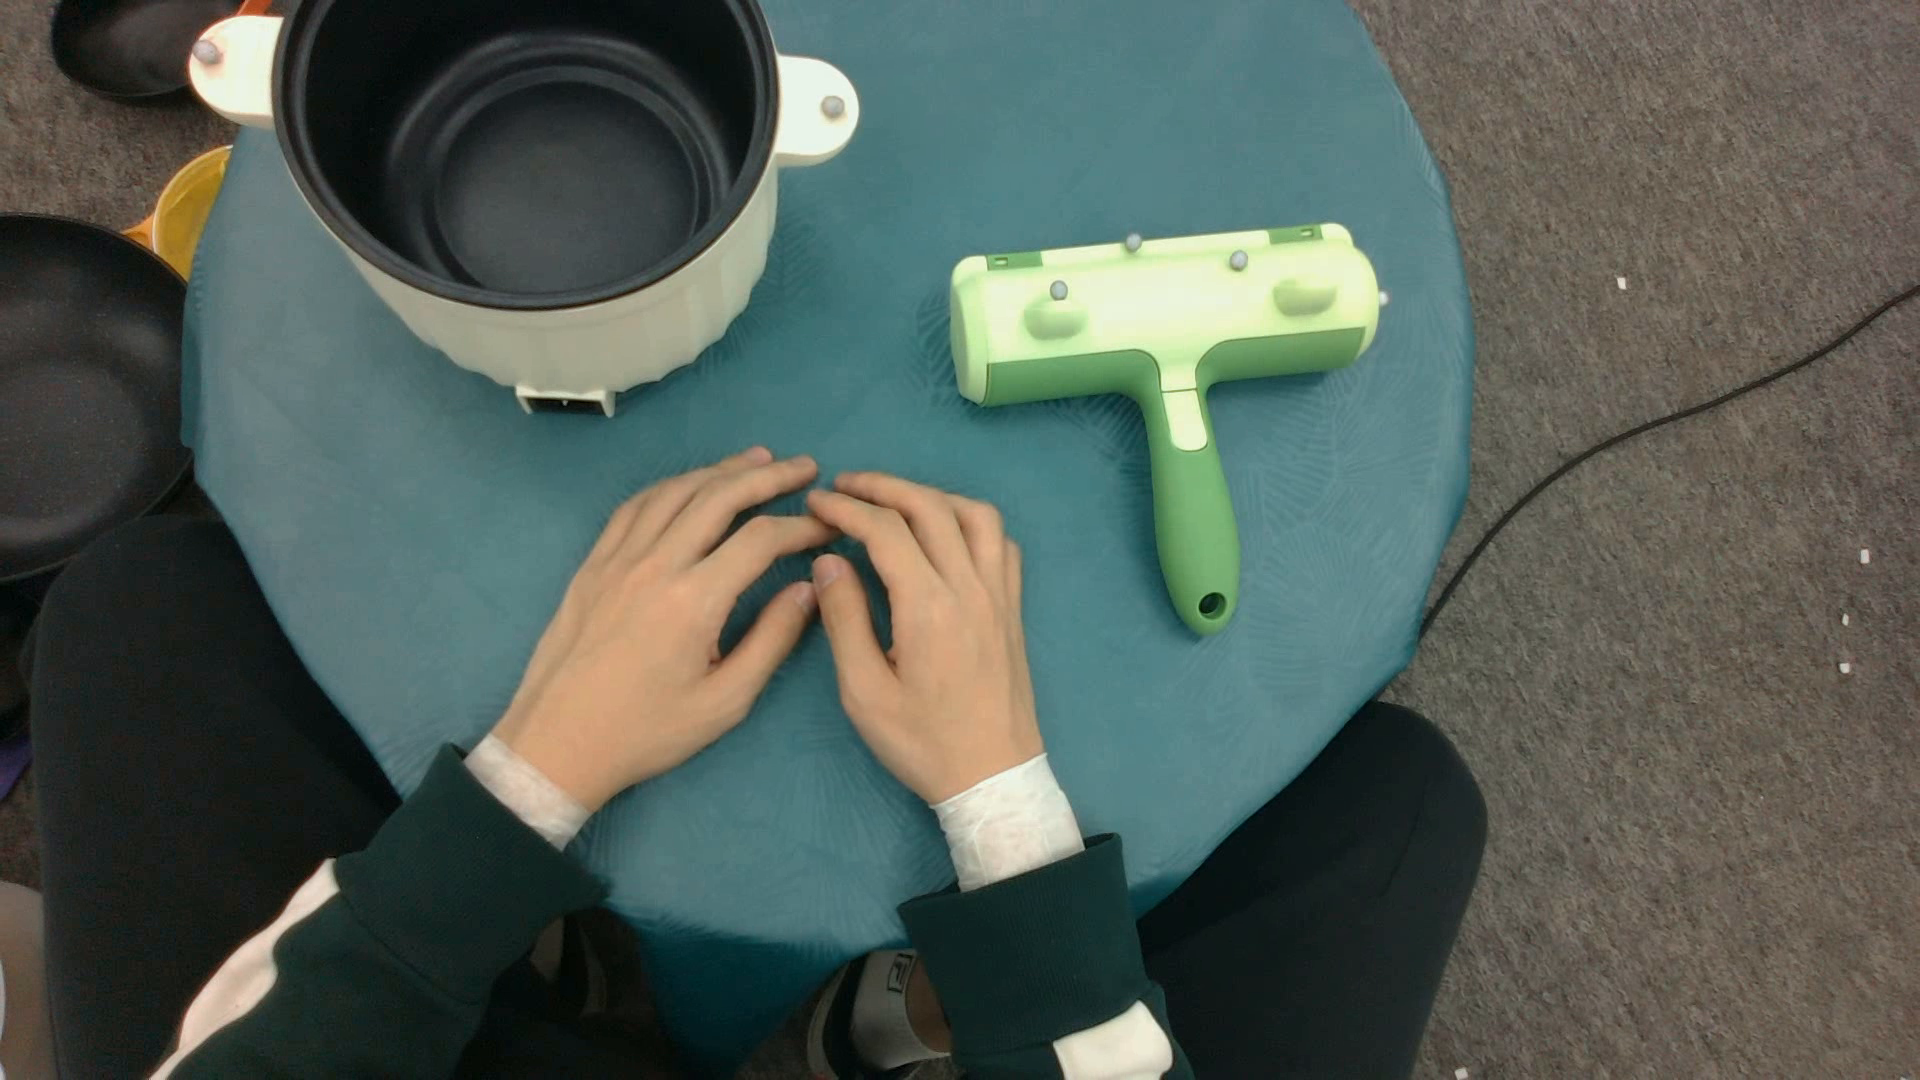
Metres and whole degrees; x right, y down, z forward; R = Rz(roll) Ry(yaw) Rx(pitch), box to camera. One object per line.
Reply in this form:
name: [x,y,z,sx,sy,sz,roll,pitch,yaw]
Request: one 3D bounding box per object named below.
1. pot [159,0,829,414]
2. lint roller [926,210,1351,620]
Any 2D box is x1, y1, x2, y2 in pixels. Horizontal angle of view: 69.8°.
pot: [-0.179,-0.159,0.574,0.240,0.142,0.191,0,80,-9]
lint roller: [0.094,-0.060,0.621,0.199,0.082,0.184,-8,73,-10]
